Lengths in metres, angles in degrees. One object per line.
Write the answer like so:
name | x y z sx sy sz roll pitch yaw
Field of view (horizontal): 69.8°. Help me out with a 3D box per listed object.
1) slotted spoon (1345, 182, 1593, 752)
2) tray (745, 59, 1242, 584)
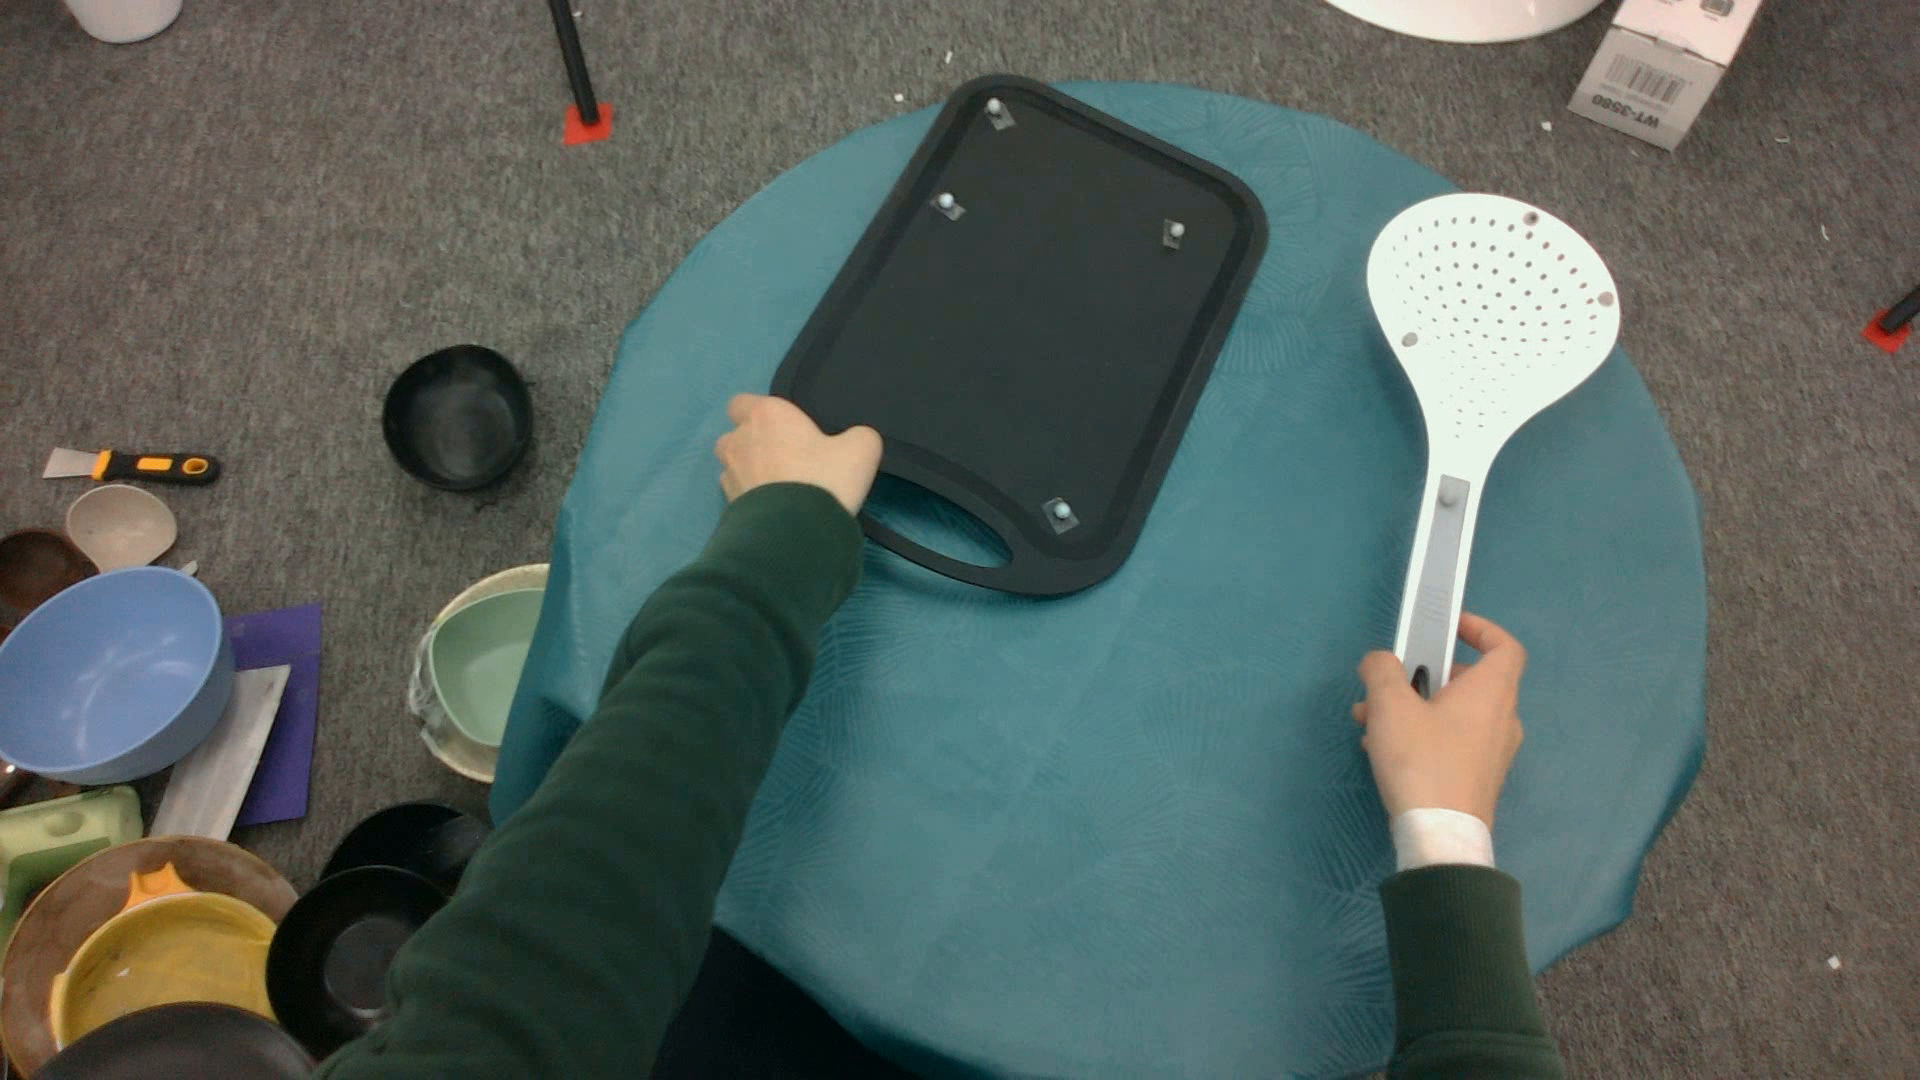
slotted spoon | 0.250 -0.052 0.713 0.136 0.045 0.351 15 57 7
tray | 0.026 -0.128 0.759 0.211 0.010 0.327 26 64 0
